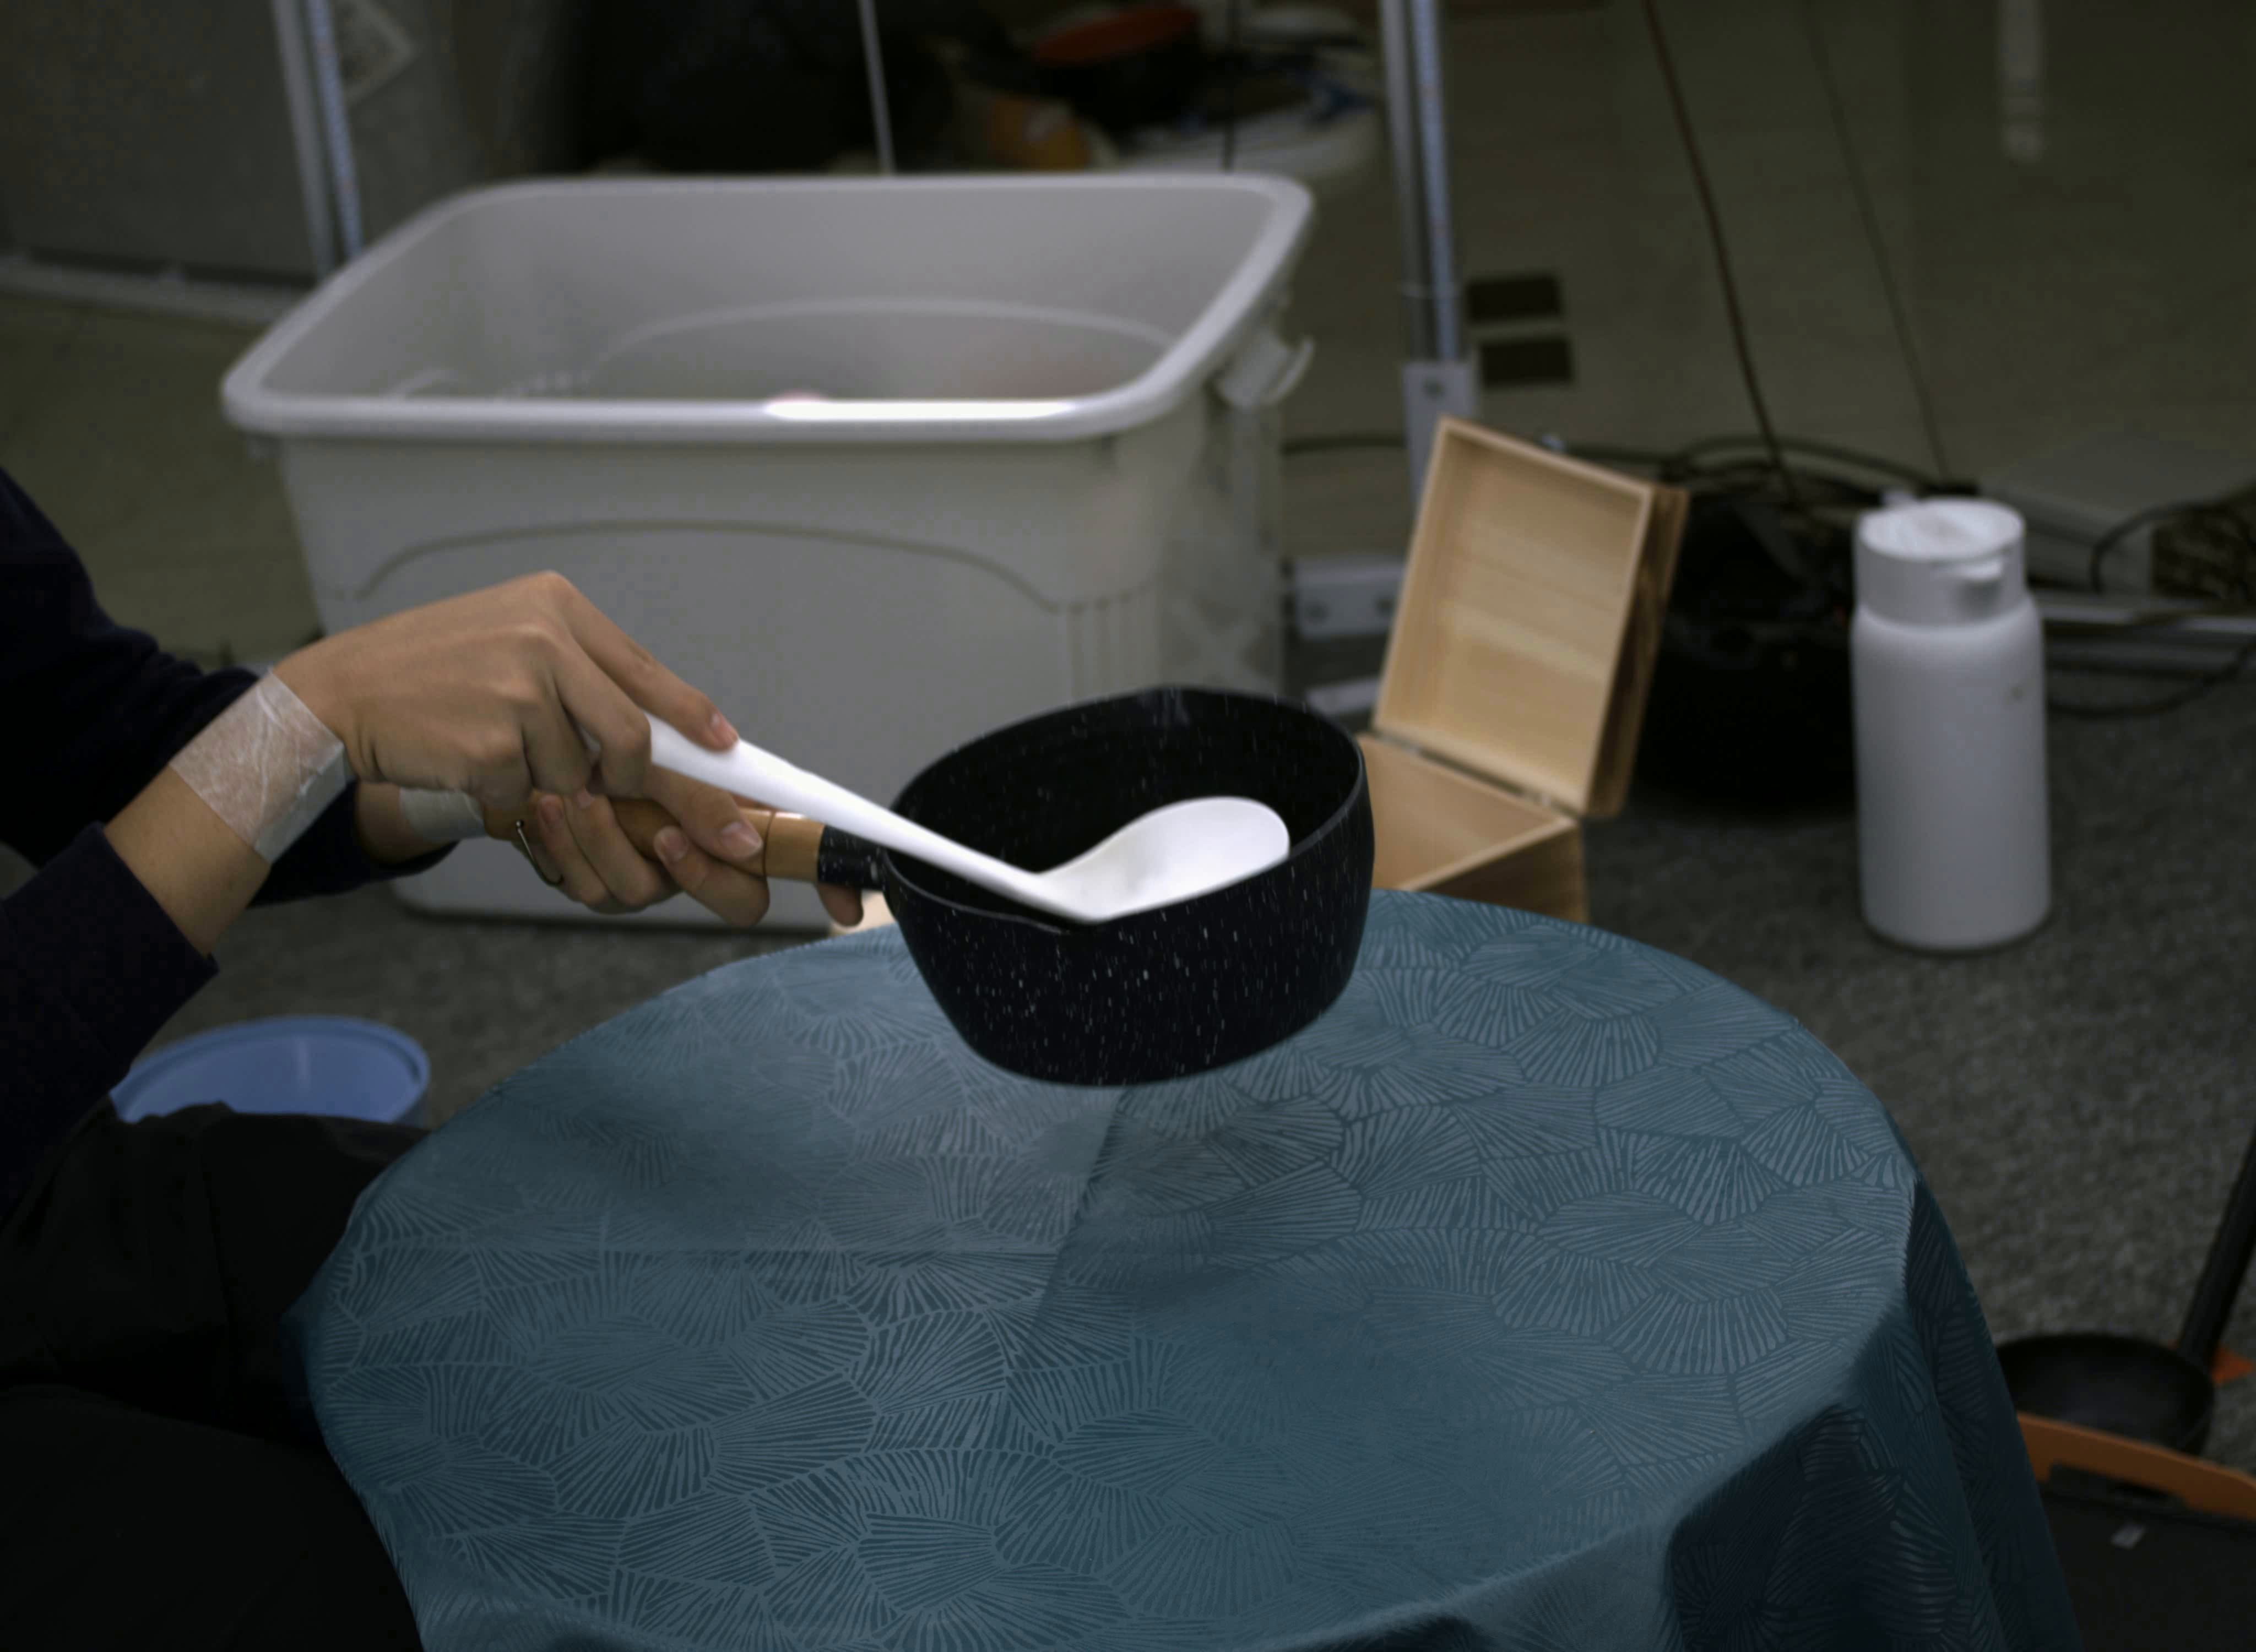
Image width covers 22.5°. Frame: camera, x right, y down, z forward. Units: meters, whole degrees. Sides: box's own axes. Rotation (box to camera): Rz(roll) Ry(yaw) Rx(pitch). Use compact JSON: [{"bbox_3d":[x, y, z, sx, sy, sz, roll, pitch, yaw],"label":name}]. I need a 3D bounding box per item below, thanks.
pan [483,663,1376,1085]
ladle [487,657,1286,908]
[{"bbox_3d":[-0.074,0.019,2.134,0.342,0.110,0.204,-3,29,13],"label":"pan"},{"bbox_3d":[-0.087,-0.014,2.087,0.293,0.071,0.088,20,36,-12],"label":"ladle"}]
